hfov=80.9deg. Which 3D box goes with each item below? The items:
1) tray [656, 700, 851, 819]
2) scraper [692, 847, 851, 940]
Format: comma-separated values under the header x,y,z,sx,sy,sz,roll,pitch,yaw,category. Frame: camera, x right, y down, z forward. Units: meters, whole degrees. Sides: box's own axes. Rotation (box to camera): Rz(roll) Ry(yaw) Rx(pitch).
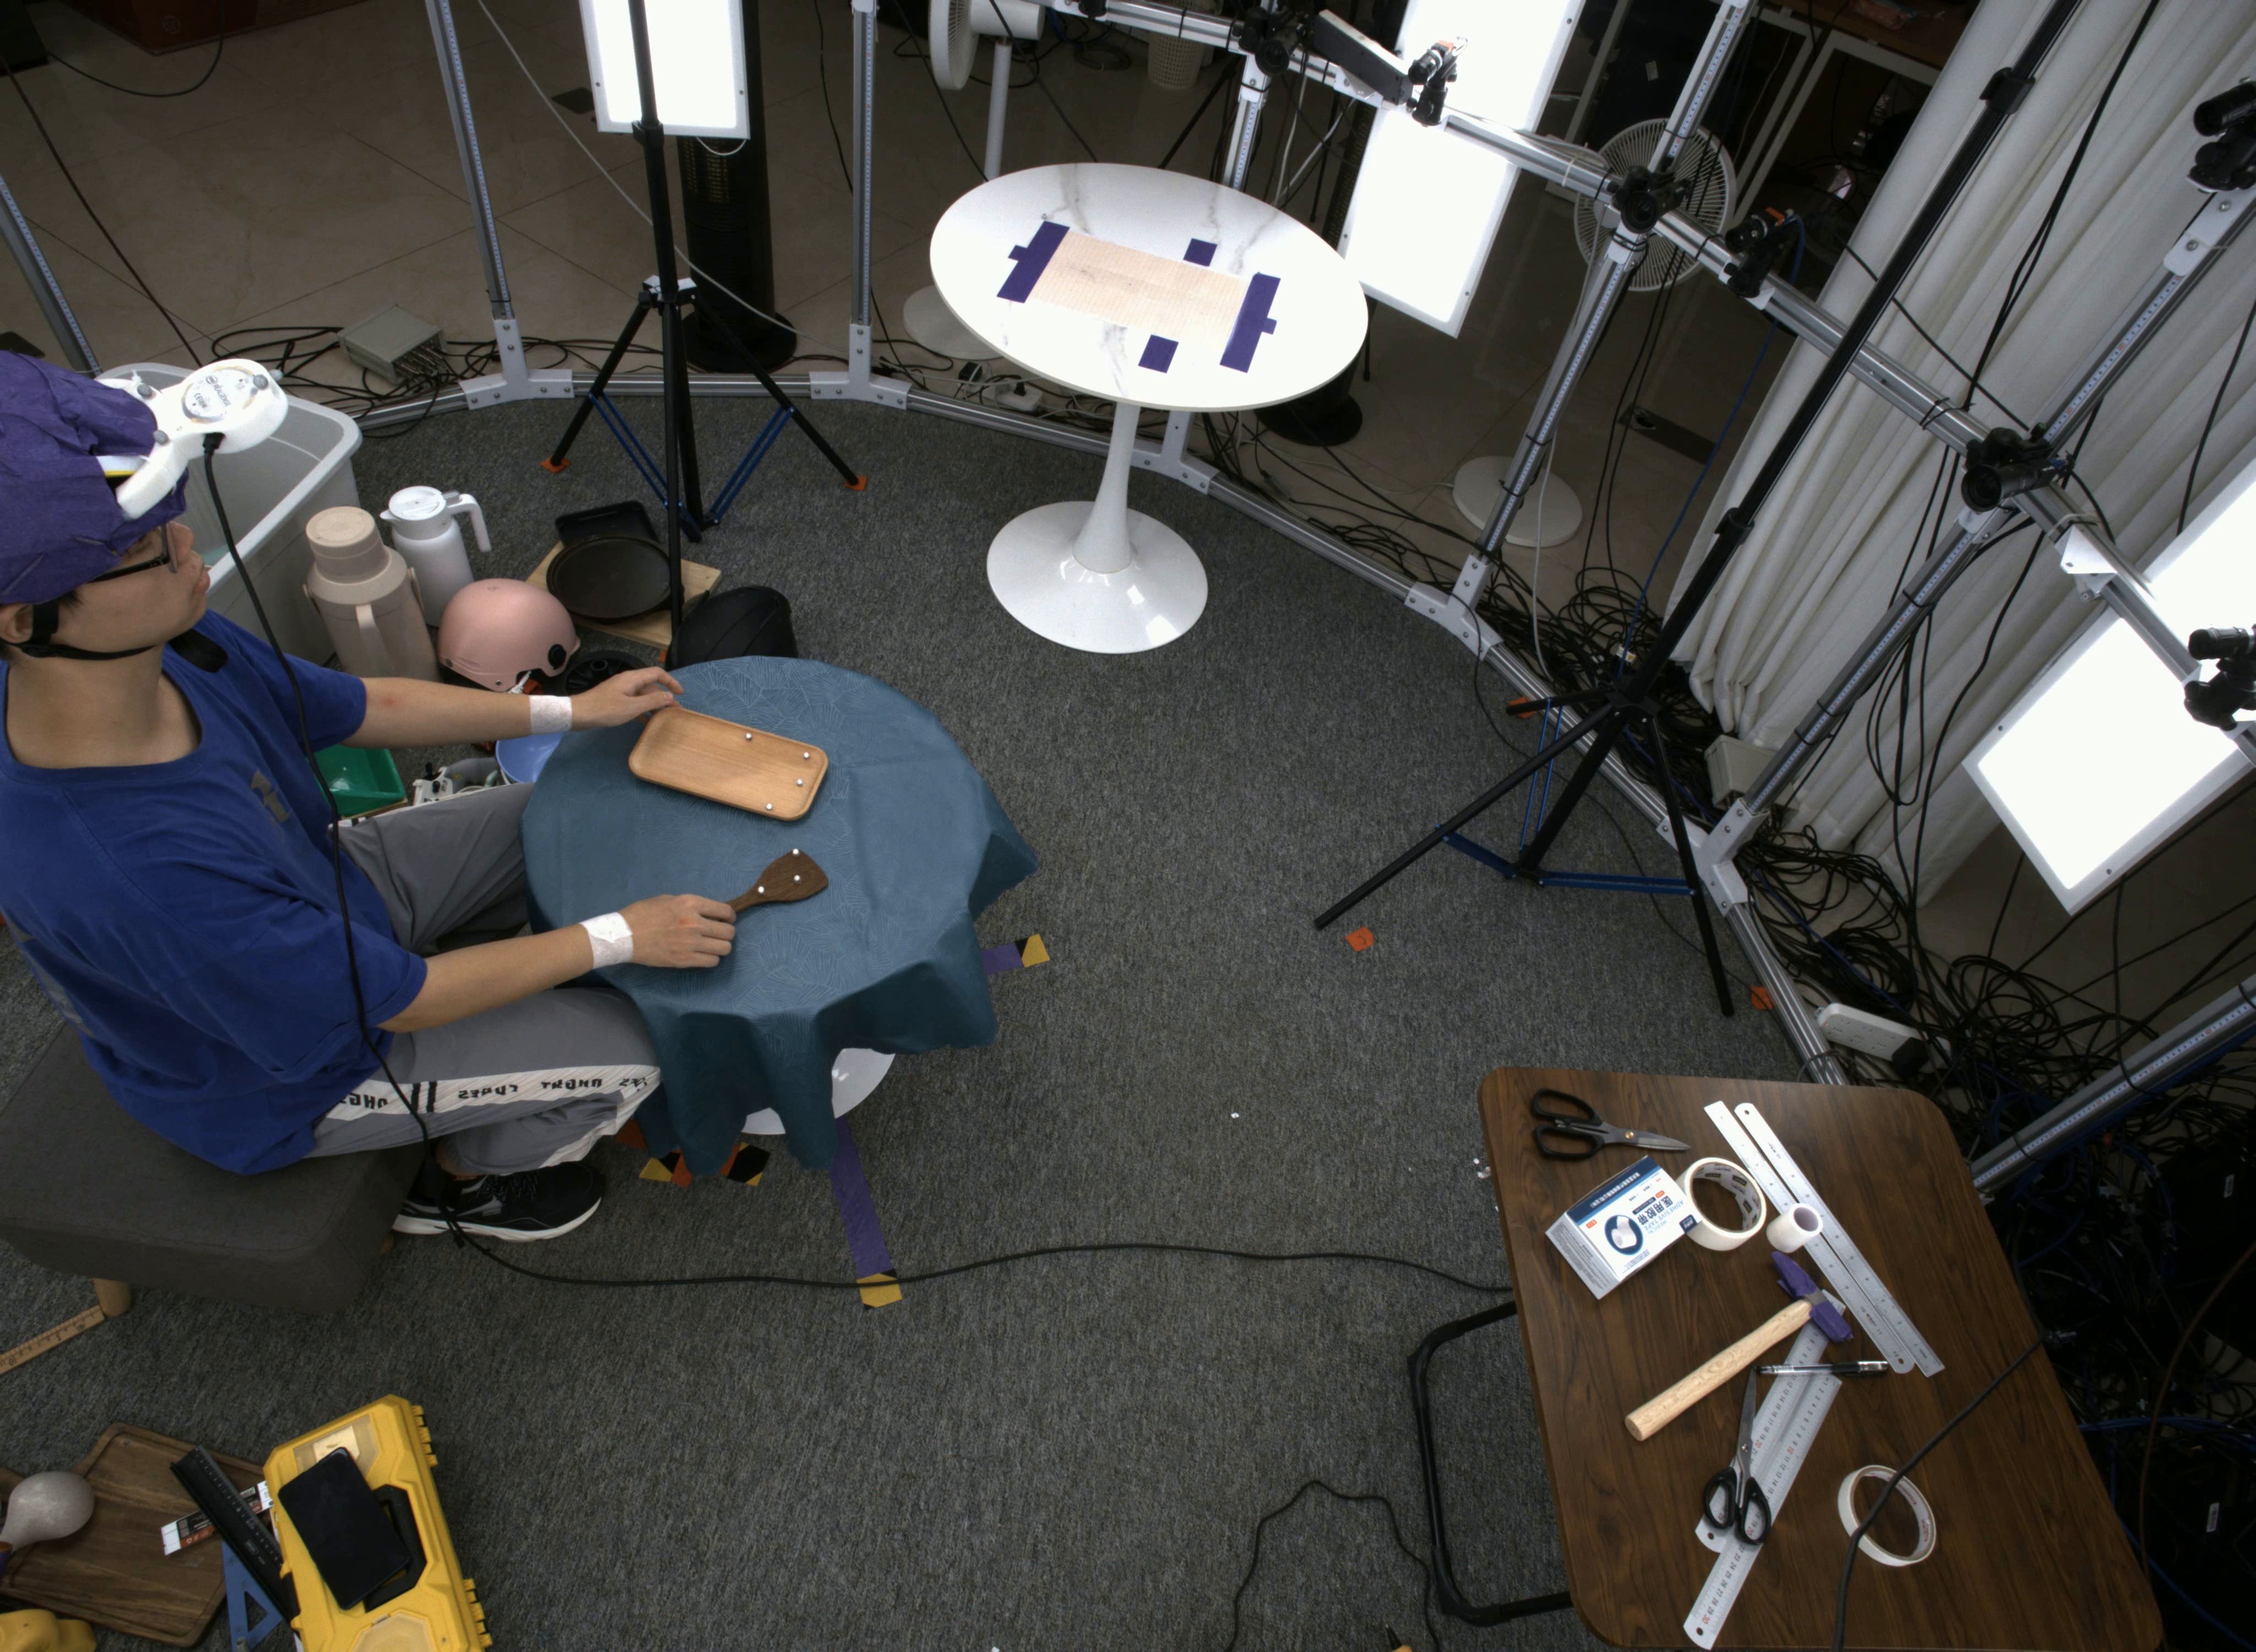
x,y,z,sx,sy,sz,roll,pitch,yaw,category
-0.510,-0.091,1.761,0.249,0.023,0.129,18,51,-3,tray
-0.456,0.089,1.646,0.212,0.011,0.074,-28,64,-35,scraper
